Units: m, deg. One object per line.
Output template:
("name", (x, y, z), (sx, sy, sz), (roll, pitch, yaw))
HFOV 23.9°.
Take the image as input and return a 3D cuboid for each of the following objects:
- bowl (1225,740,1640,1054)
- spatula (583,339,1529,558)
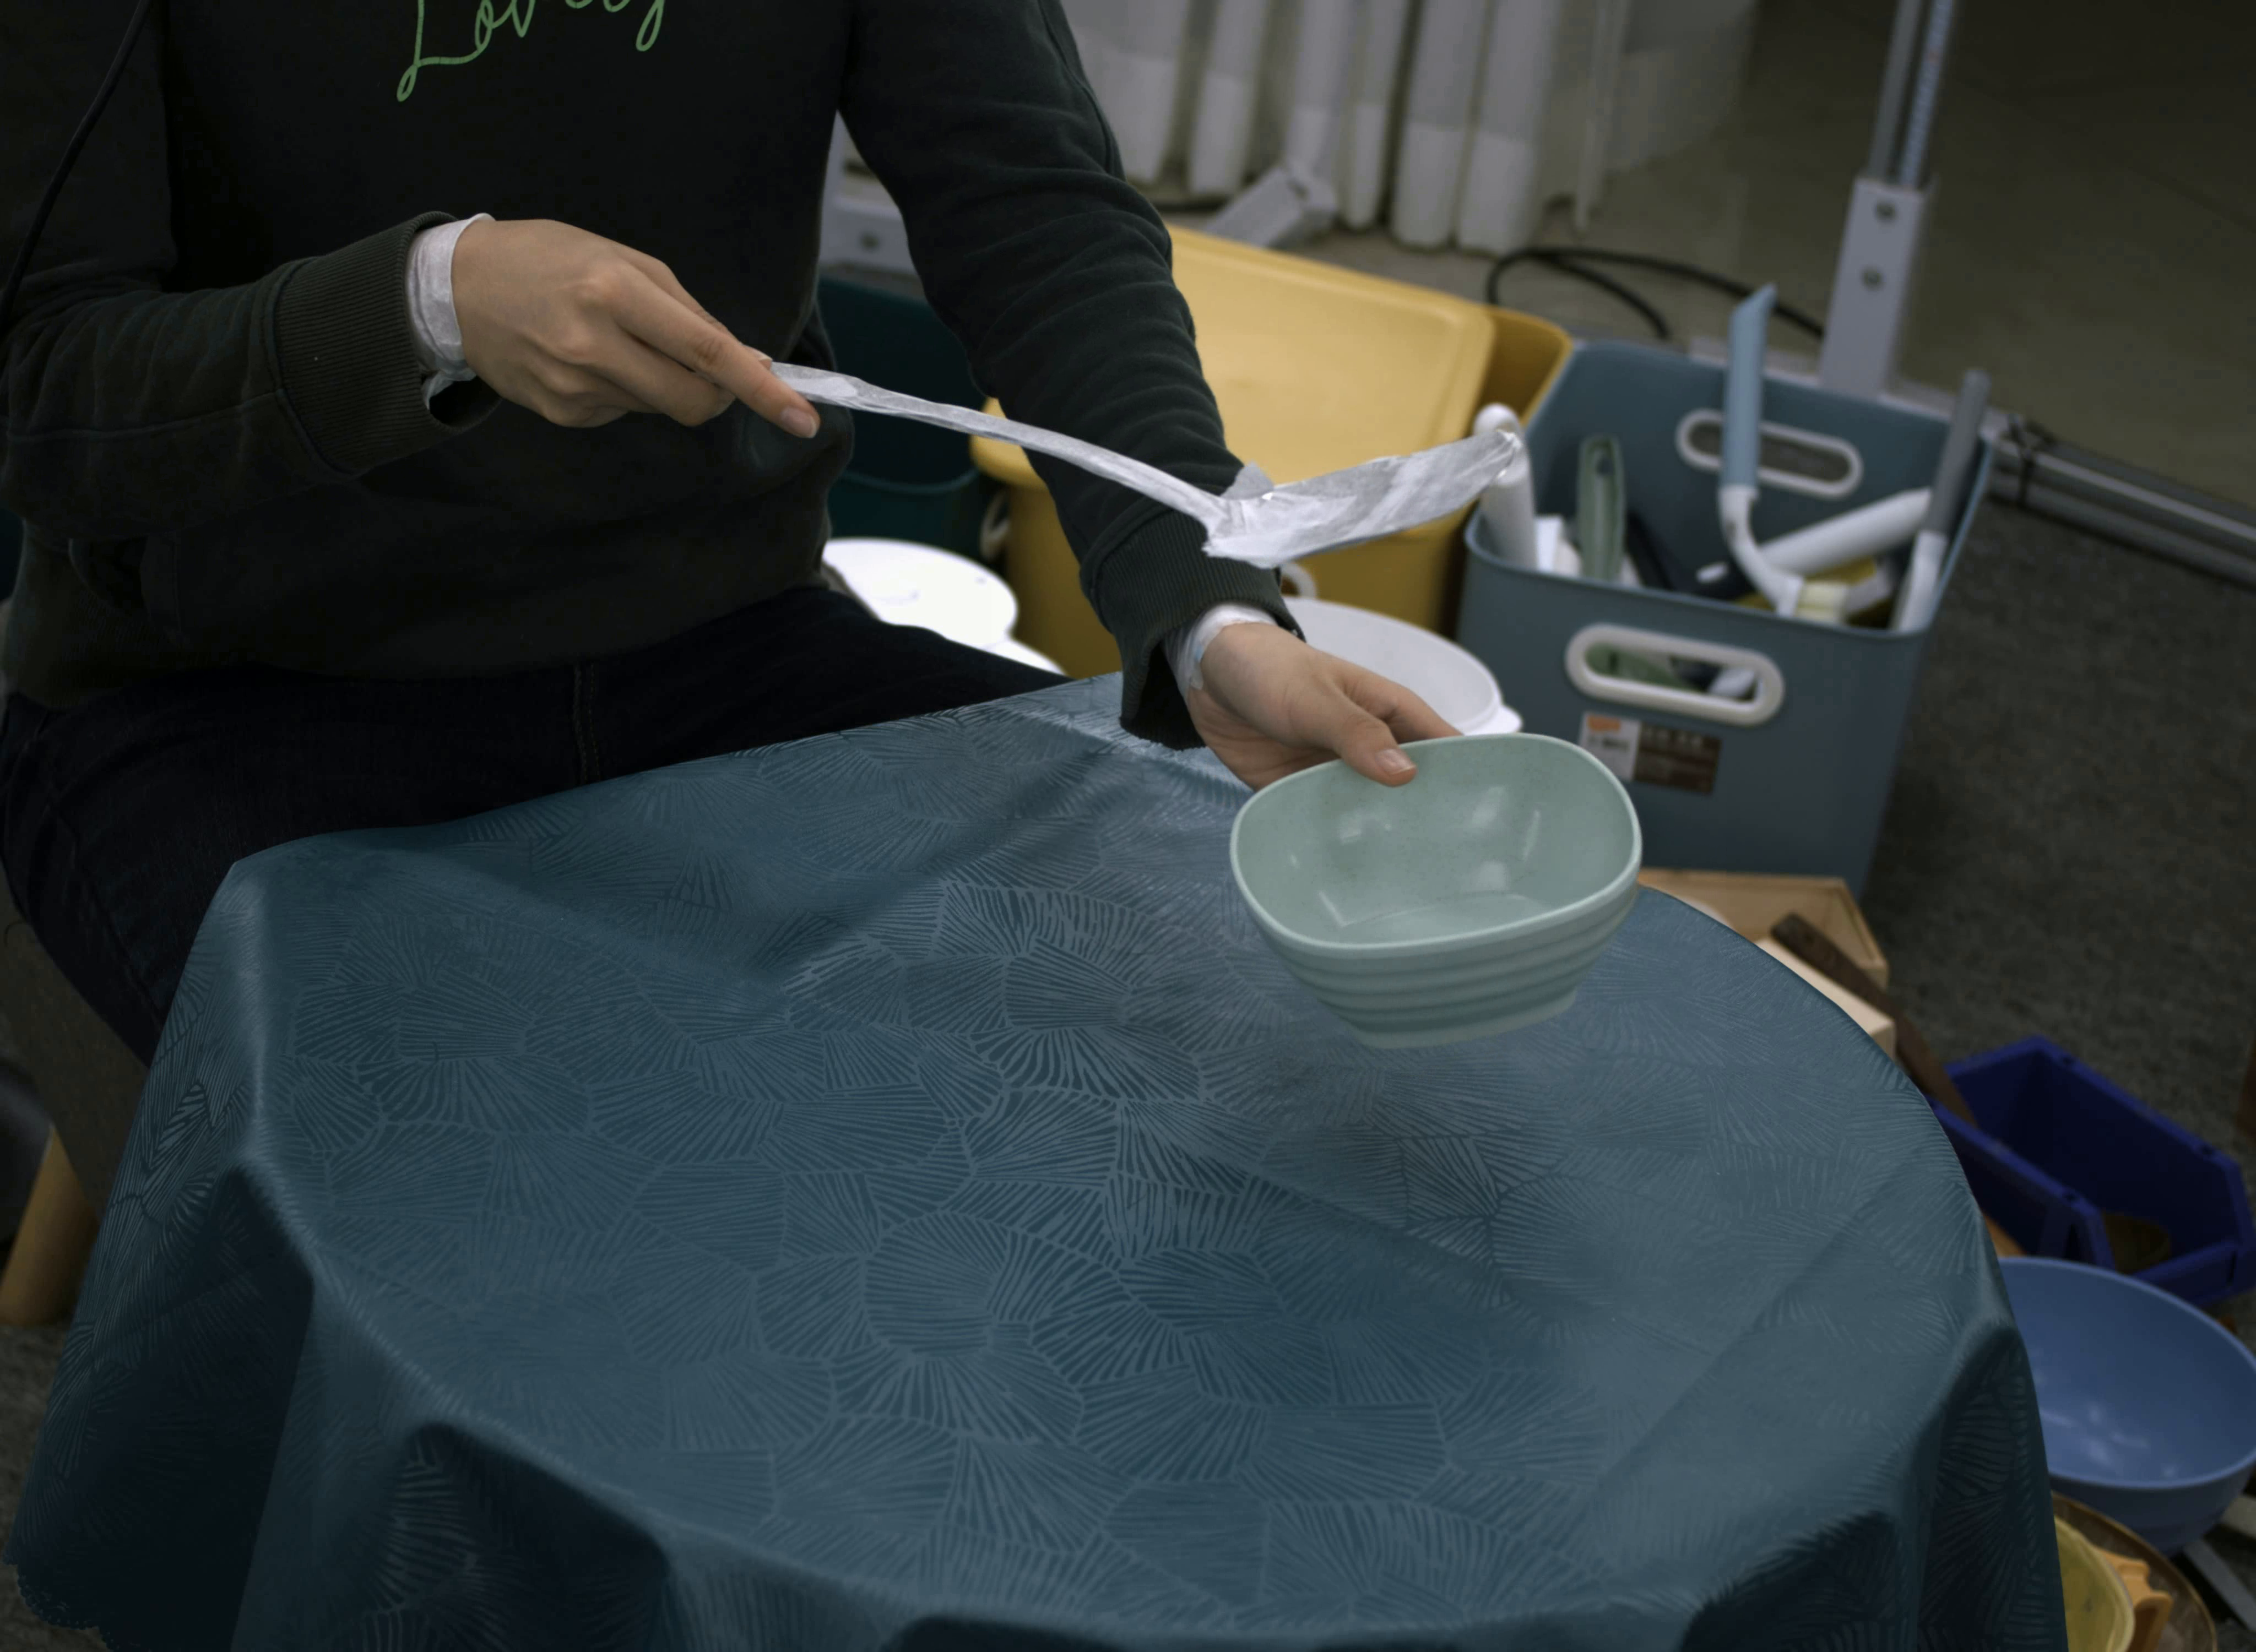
("bowl", (0.105, 0.030, 1.816), (0.151, 0.058, 0.152), (-5, 29, 3))
("spatula", (-0.039, -0.140, 1.823), (0.366, 0.044, 0.098), (15, 32, 24))
